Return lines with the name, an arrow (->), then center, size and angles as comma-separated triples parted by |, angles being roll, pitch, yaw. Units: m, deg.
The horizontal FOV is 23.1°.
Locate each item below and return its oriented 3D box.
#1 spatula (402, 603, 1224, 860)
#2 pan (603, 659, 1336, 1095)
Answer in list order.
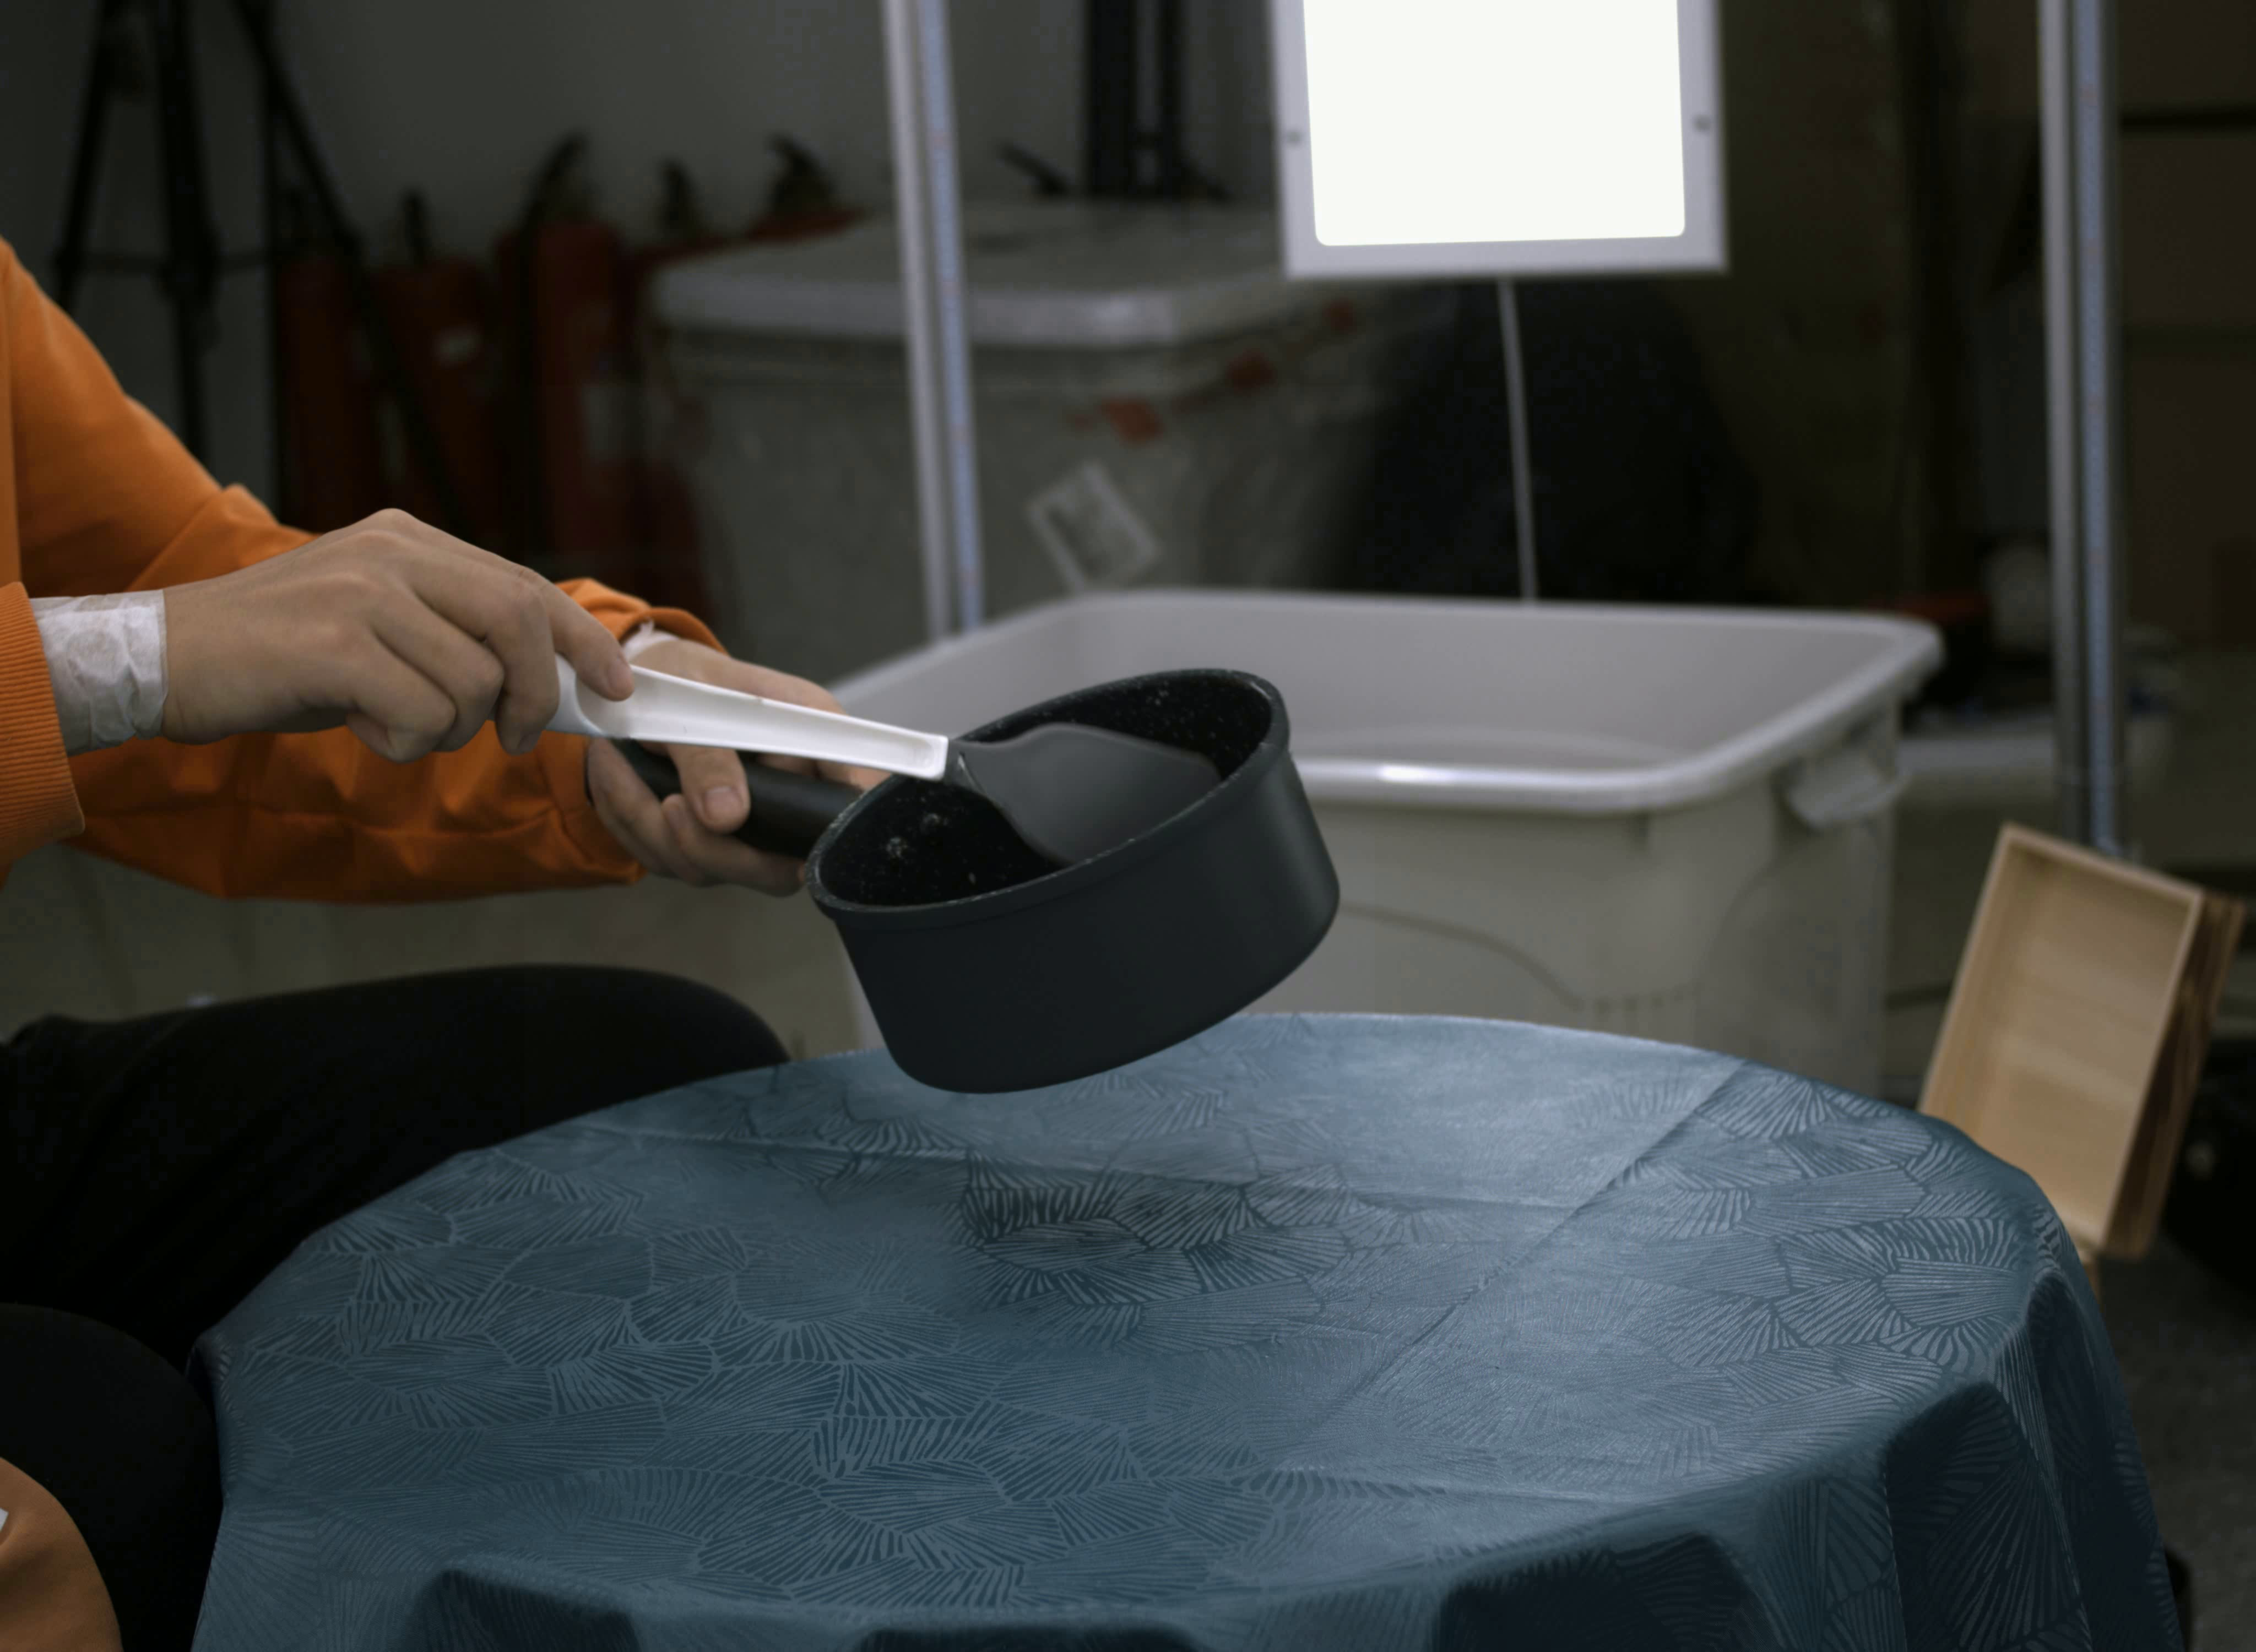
spatula -> -0.096, -0.026, 1.813 | 0.284, 0.058, 0.033 | 13, -24, -14
pan -> -0.069, 0.012, 1.910 | 0.168, 0.086, 0.336 | -34, 24, -32
